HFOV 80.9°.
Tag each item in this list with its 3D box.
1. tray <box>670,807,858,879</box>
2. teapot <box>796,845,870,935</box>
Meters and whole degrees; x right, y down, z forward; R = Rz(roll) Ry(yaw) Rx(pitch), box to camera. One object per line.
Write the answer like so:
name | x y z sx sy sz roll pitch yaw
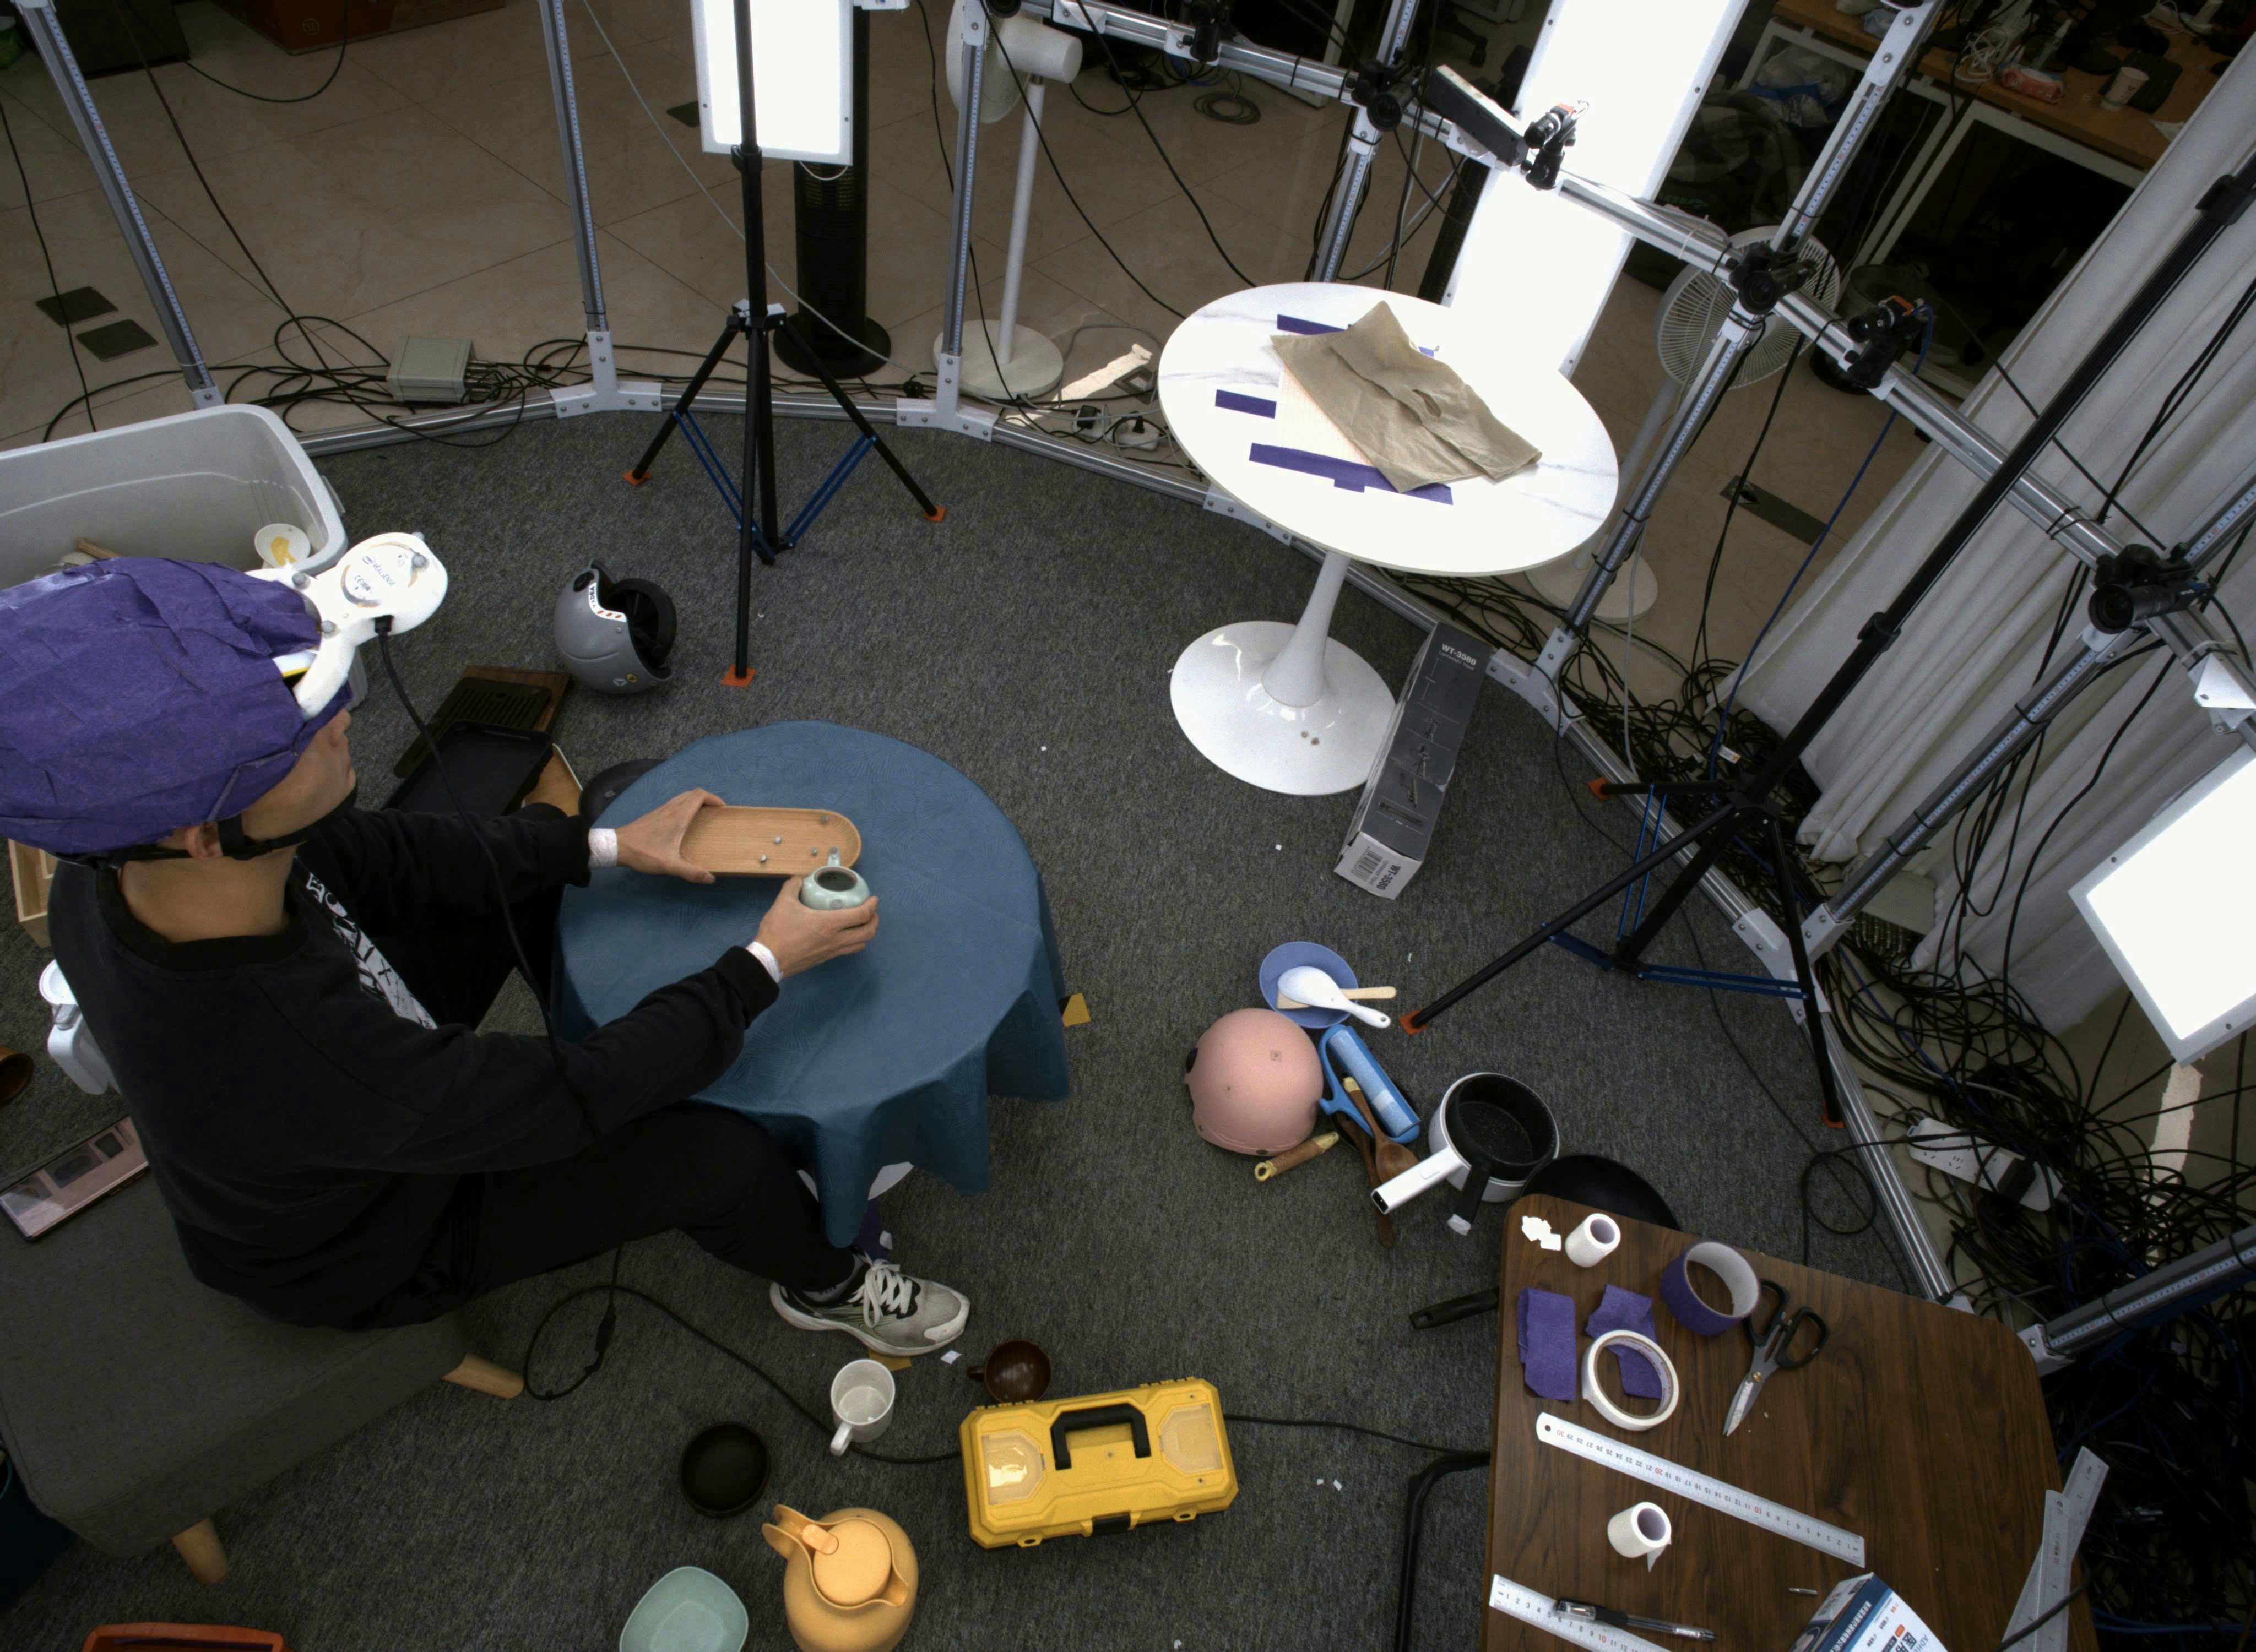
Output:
tray | -0.457 0.021 1.631 0.232 0.020 0.099 1 55 -18
teapot | -0.355 0.086 1.560 0.089 0.076 0.139 4 31 -16
